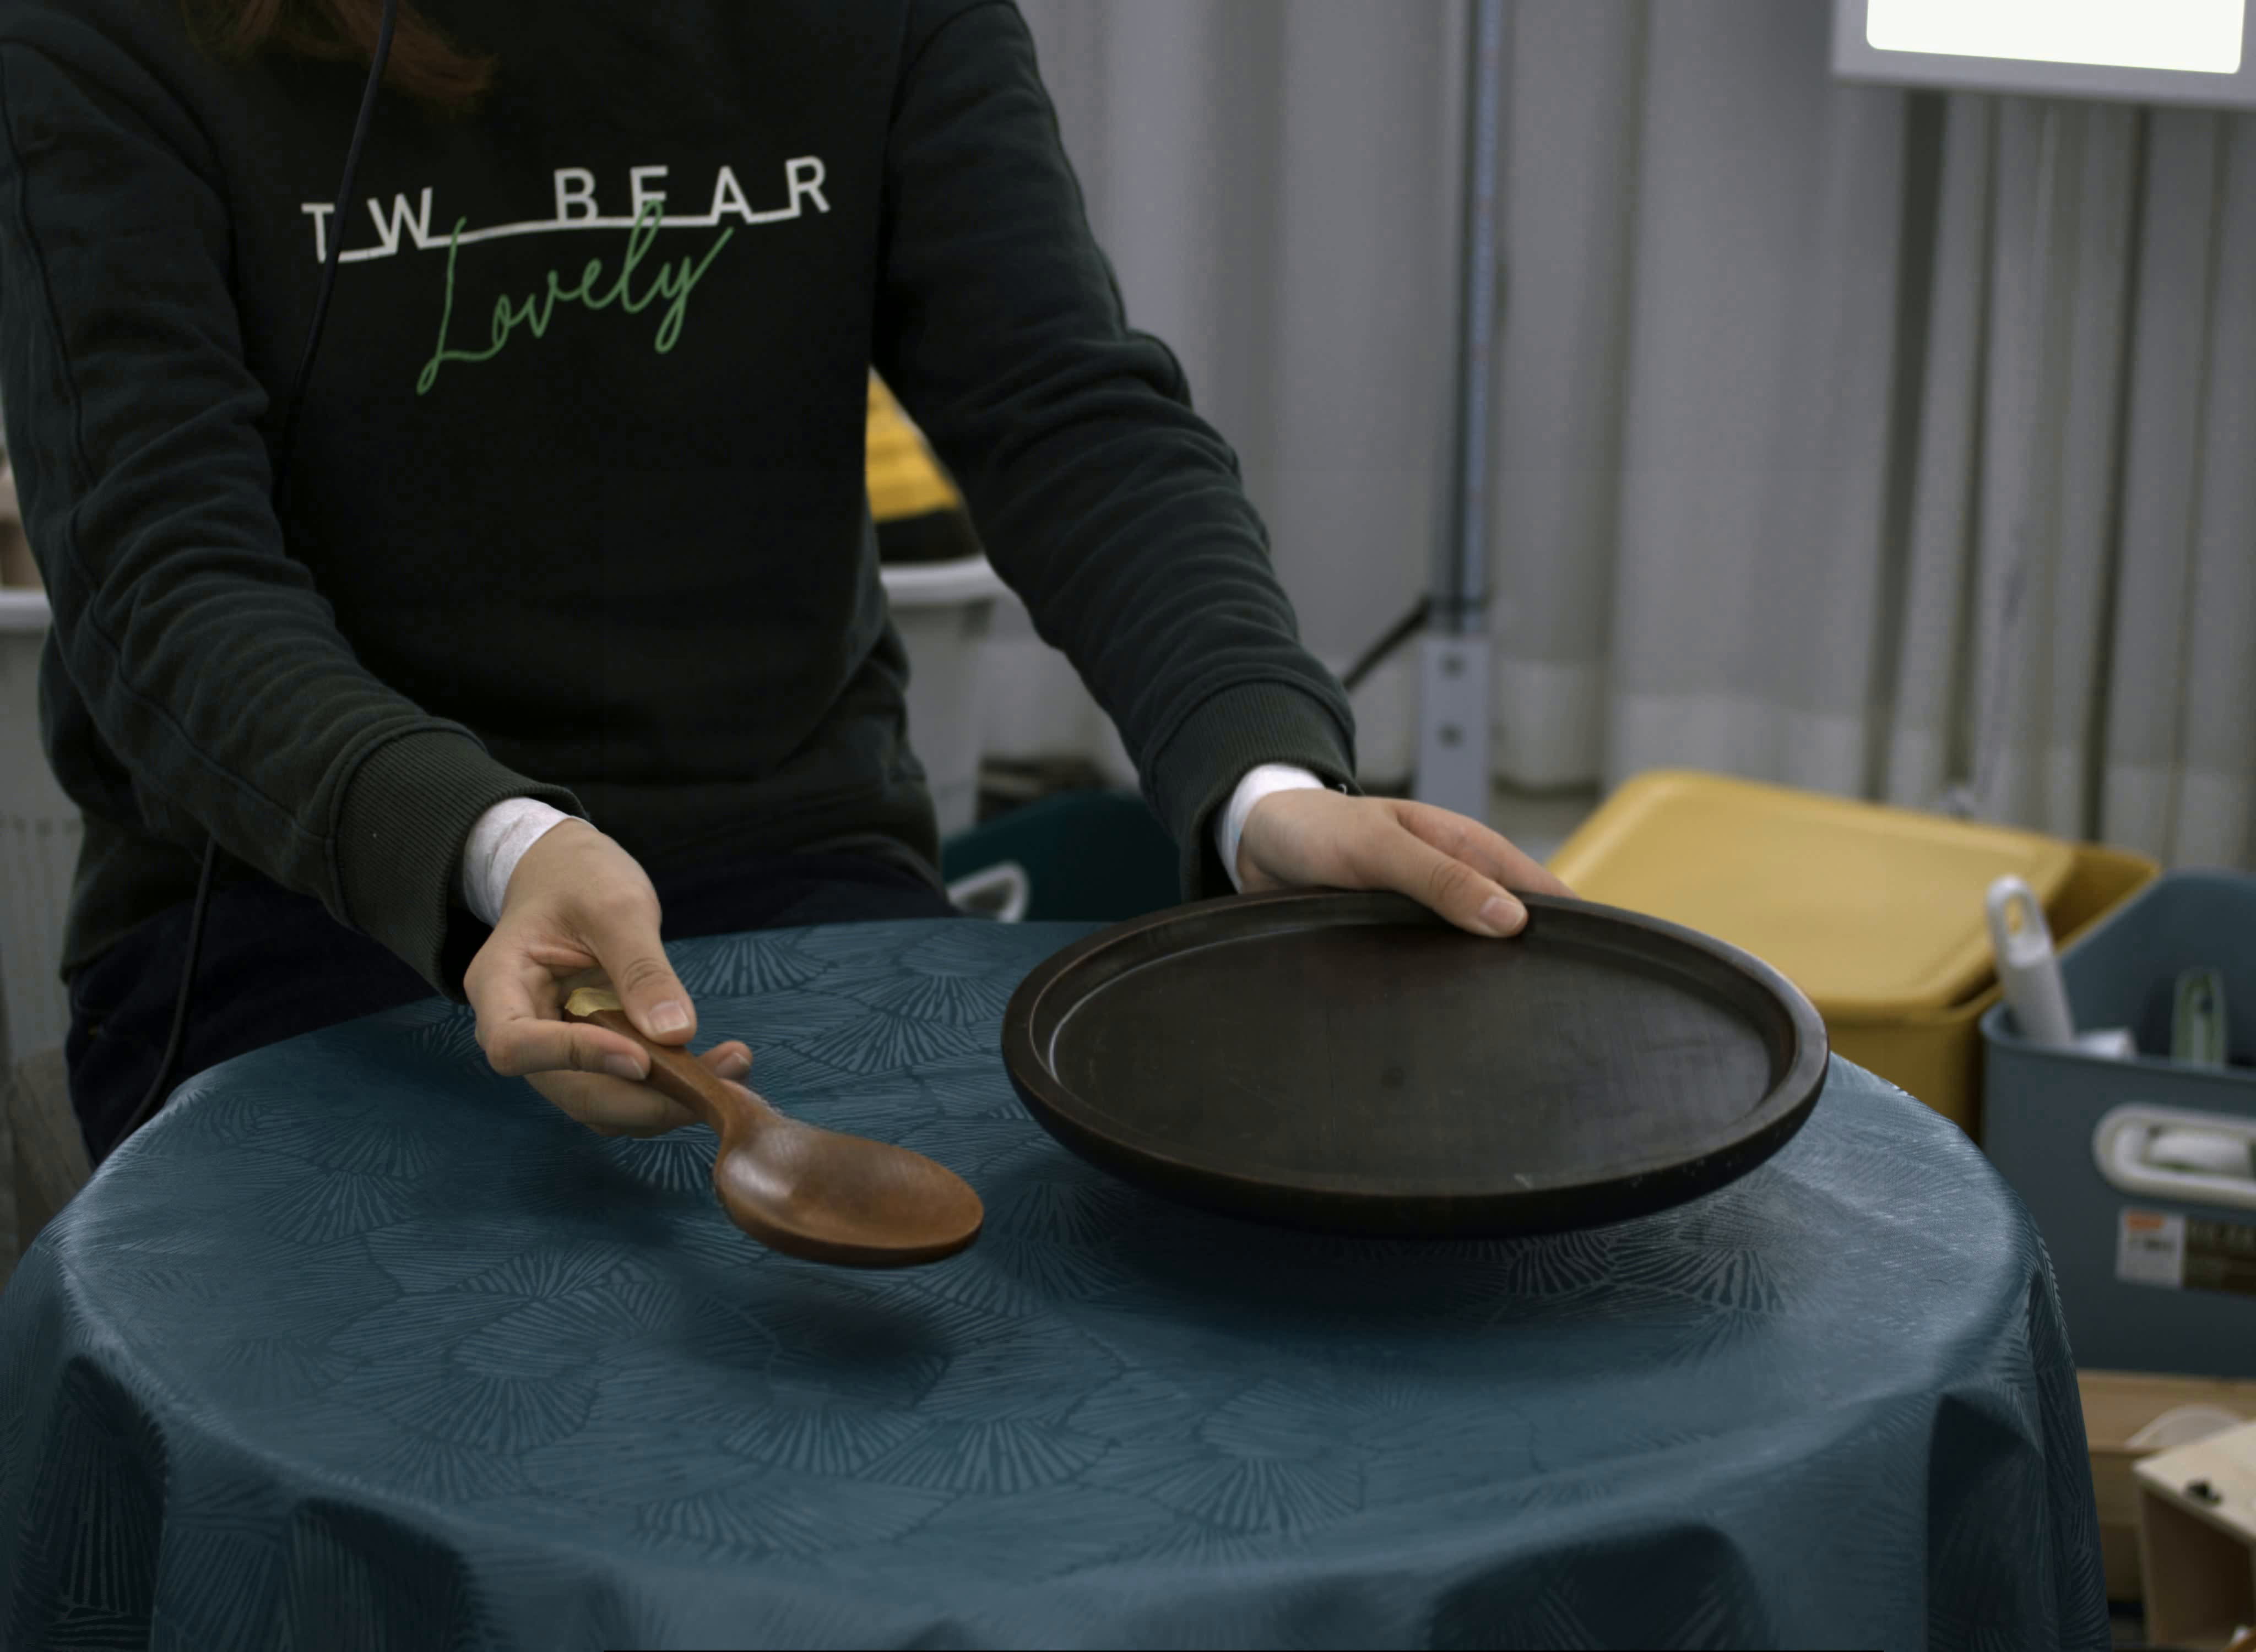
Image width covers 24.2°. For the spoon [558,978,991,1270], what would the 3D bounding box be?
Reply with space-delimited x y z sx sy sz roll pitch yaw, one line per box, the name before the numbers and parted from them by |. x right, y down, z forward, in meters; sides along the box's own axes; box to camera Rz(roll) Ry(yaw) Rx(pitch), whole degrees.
spoon | -0.113 0.088 1.550 0.076 0.017 0.213 -6 23 -32

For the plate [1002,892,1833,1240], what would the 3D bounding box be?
plate | 0.087 0.070 1.605 0.254 0.029 0.253 2 20 0
